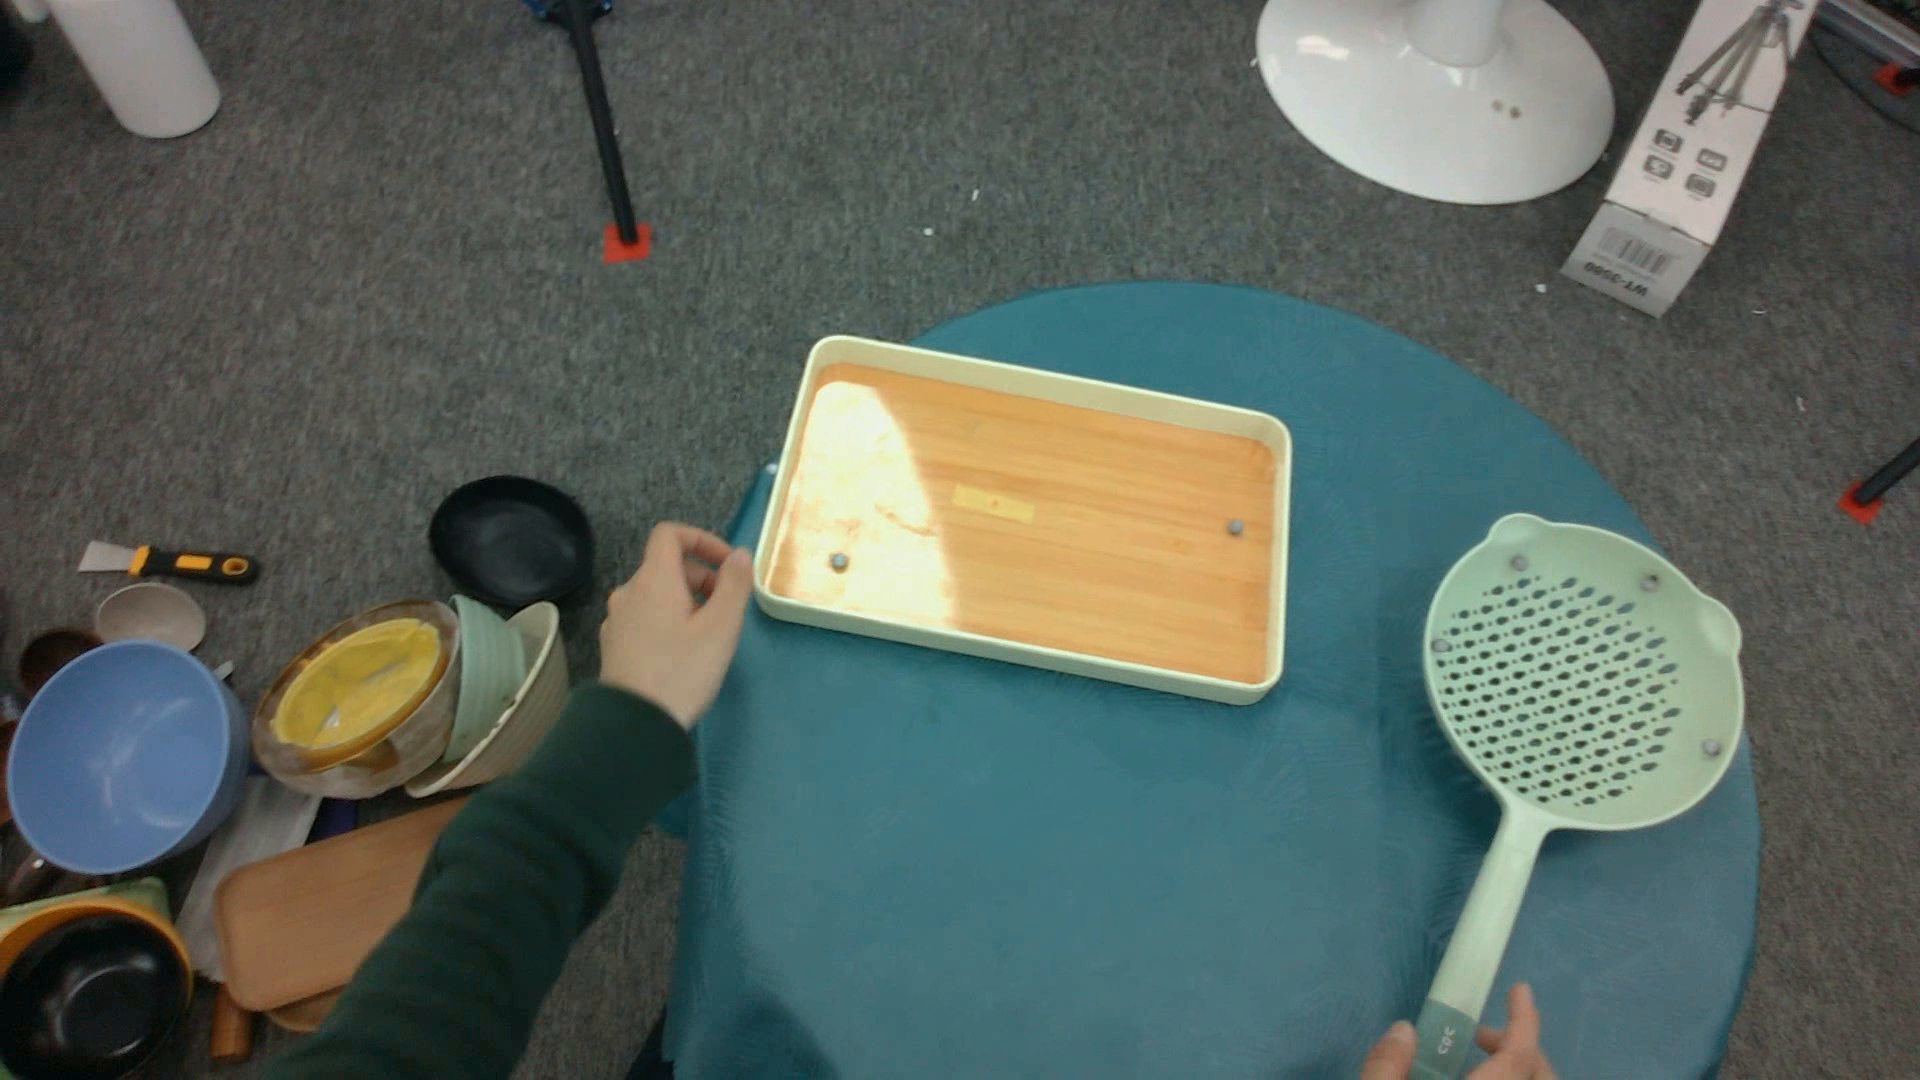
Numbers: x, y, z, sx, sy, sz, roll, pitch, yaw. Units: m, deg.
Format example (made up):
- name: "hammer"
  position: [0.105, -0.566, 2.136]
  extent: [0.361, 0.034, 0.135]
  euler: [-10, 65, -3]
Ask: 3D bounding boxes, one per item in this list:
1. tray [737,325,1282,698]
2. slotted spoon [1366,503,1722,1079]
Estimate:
- name: "tray"
  position: [0.036, -0.021, 0.807]
  extent: [0.300, 0.027, 0.192]
  euler: [11, 60, 0]
- name: "slotted spoon"
  position: [0.280, 0.146, 0.719]
  extent: [0.169, 0.075, 0.360]
  euler: [27, 61, 9]
